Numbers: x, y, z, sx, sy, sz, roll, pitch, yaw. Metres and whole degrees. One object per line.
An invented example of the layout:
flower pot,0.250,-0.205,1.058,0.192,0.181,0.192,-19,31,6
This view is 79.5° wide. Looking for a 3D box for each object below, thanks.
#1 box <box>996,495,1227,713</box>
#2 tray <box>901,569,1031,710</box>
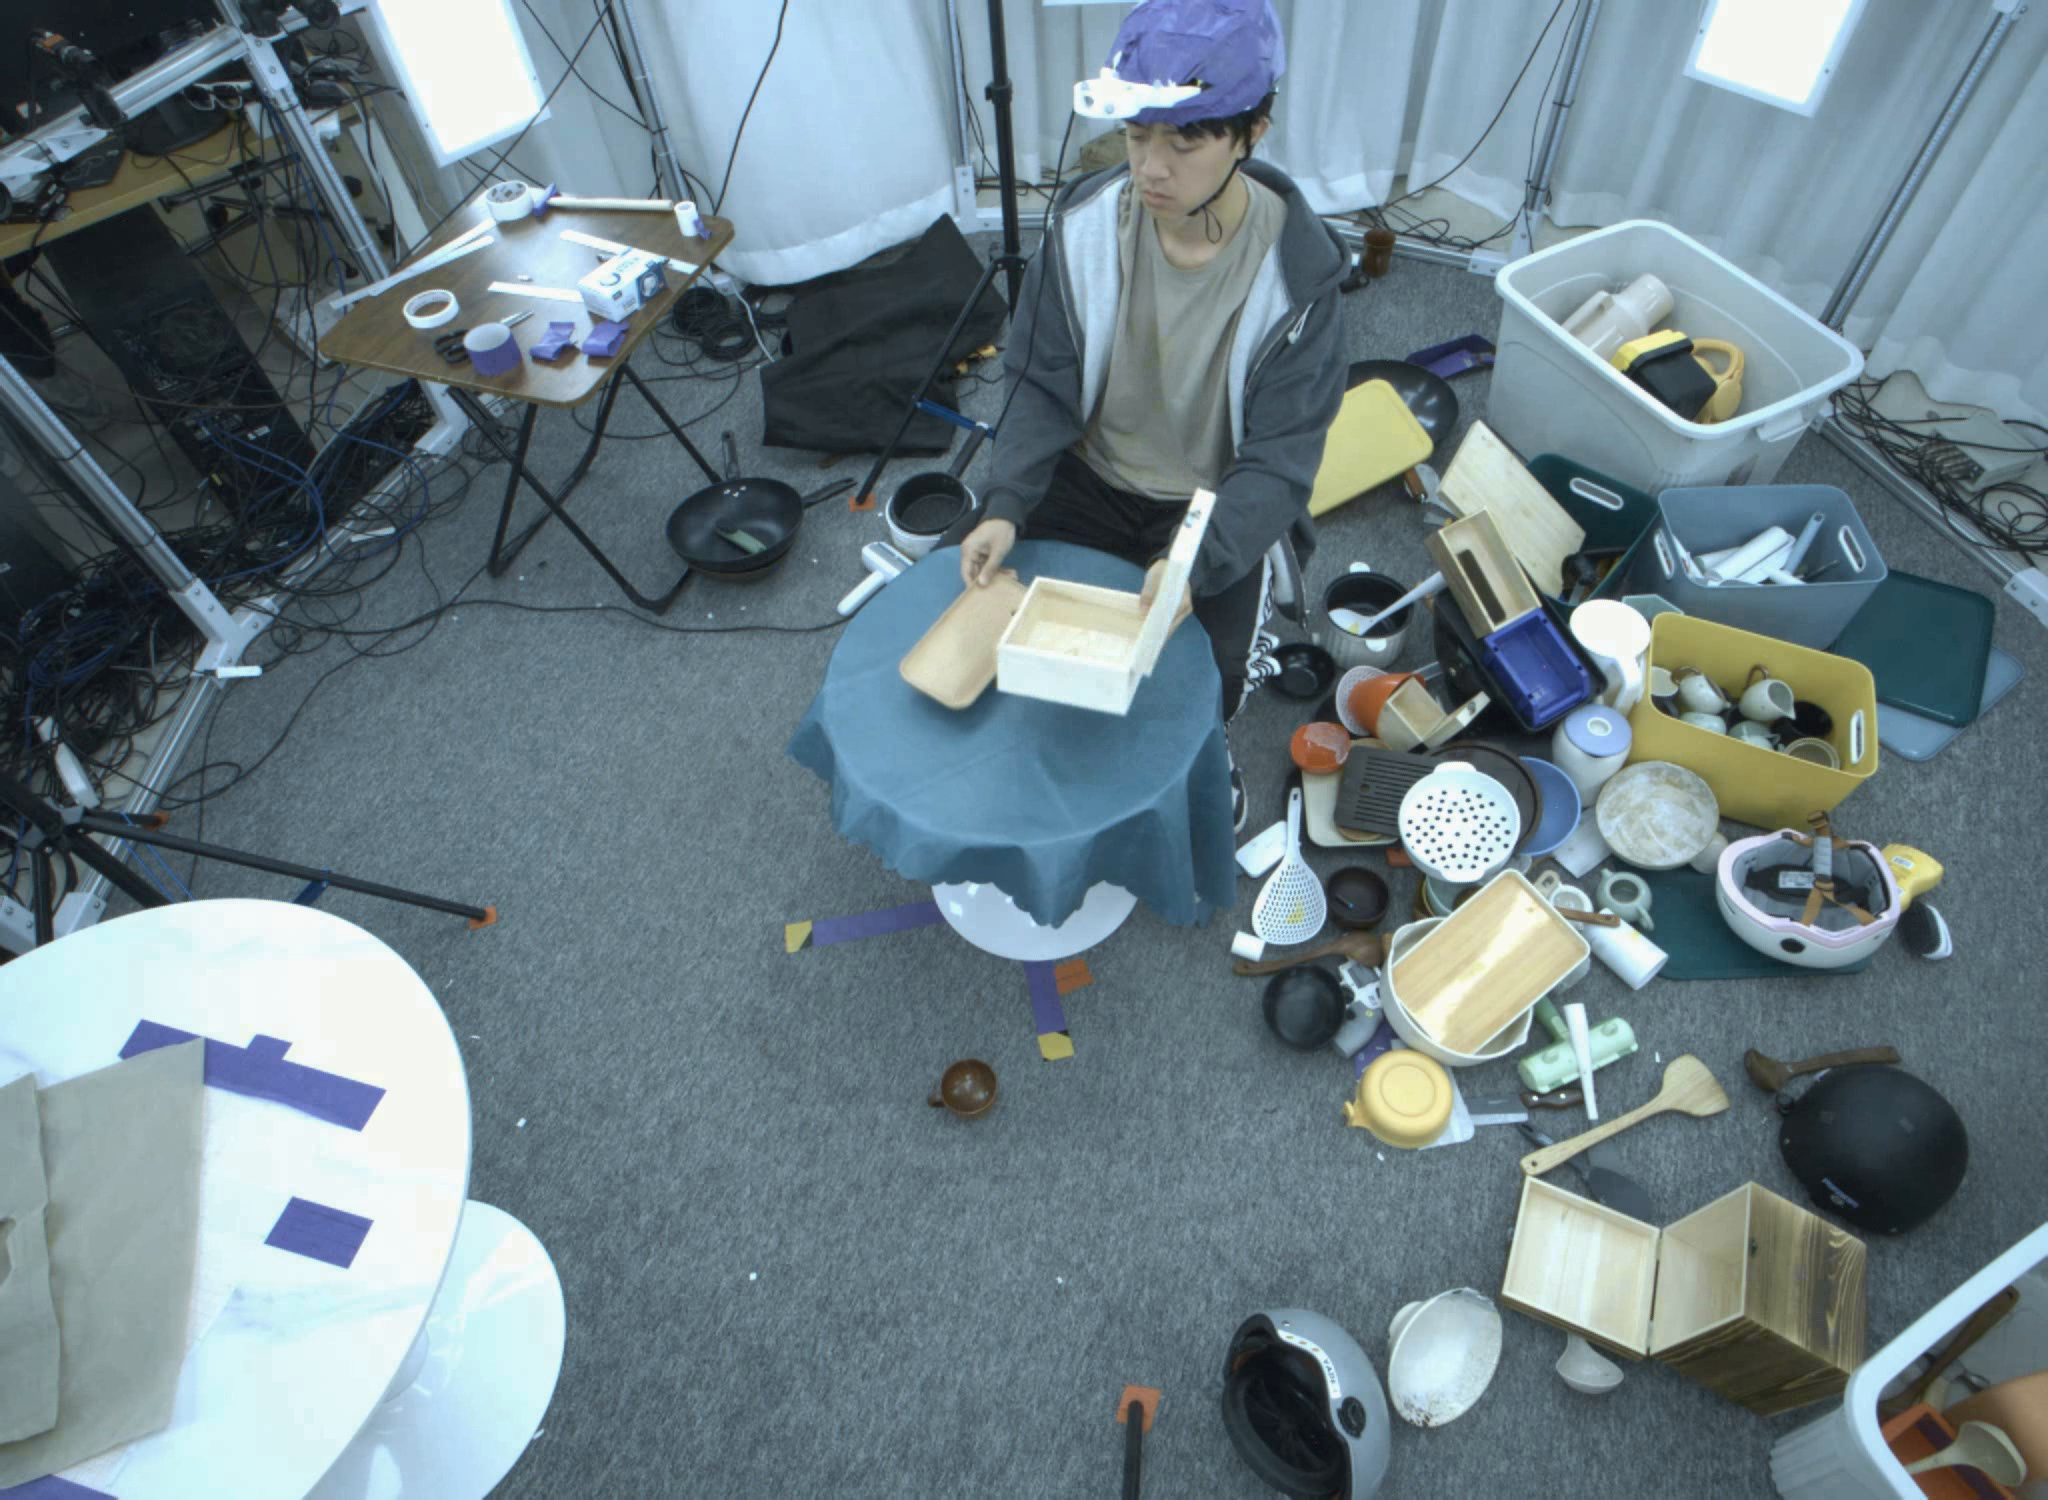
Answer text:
box,0.110,-0.208,1.634,0.263,0.255,0.181,11,38,10
tray,-0.073,-0.169,1.852,0.129,0.023,0.251,33,62,10
